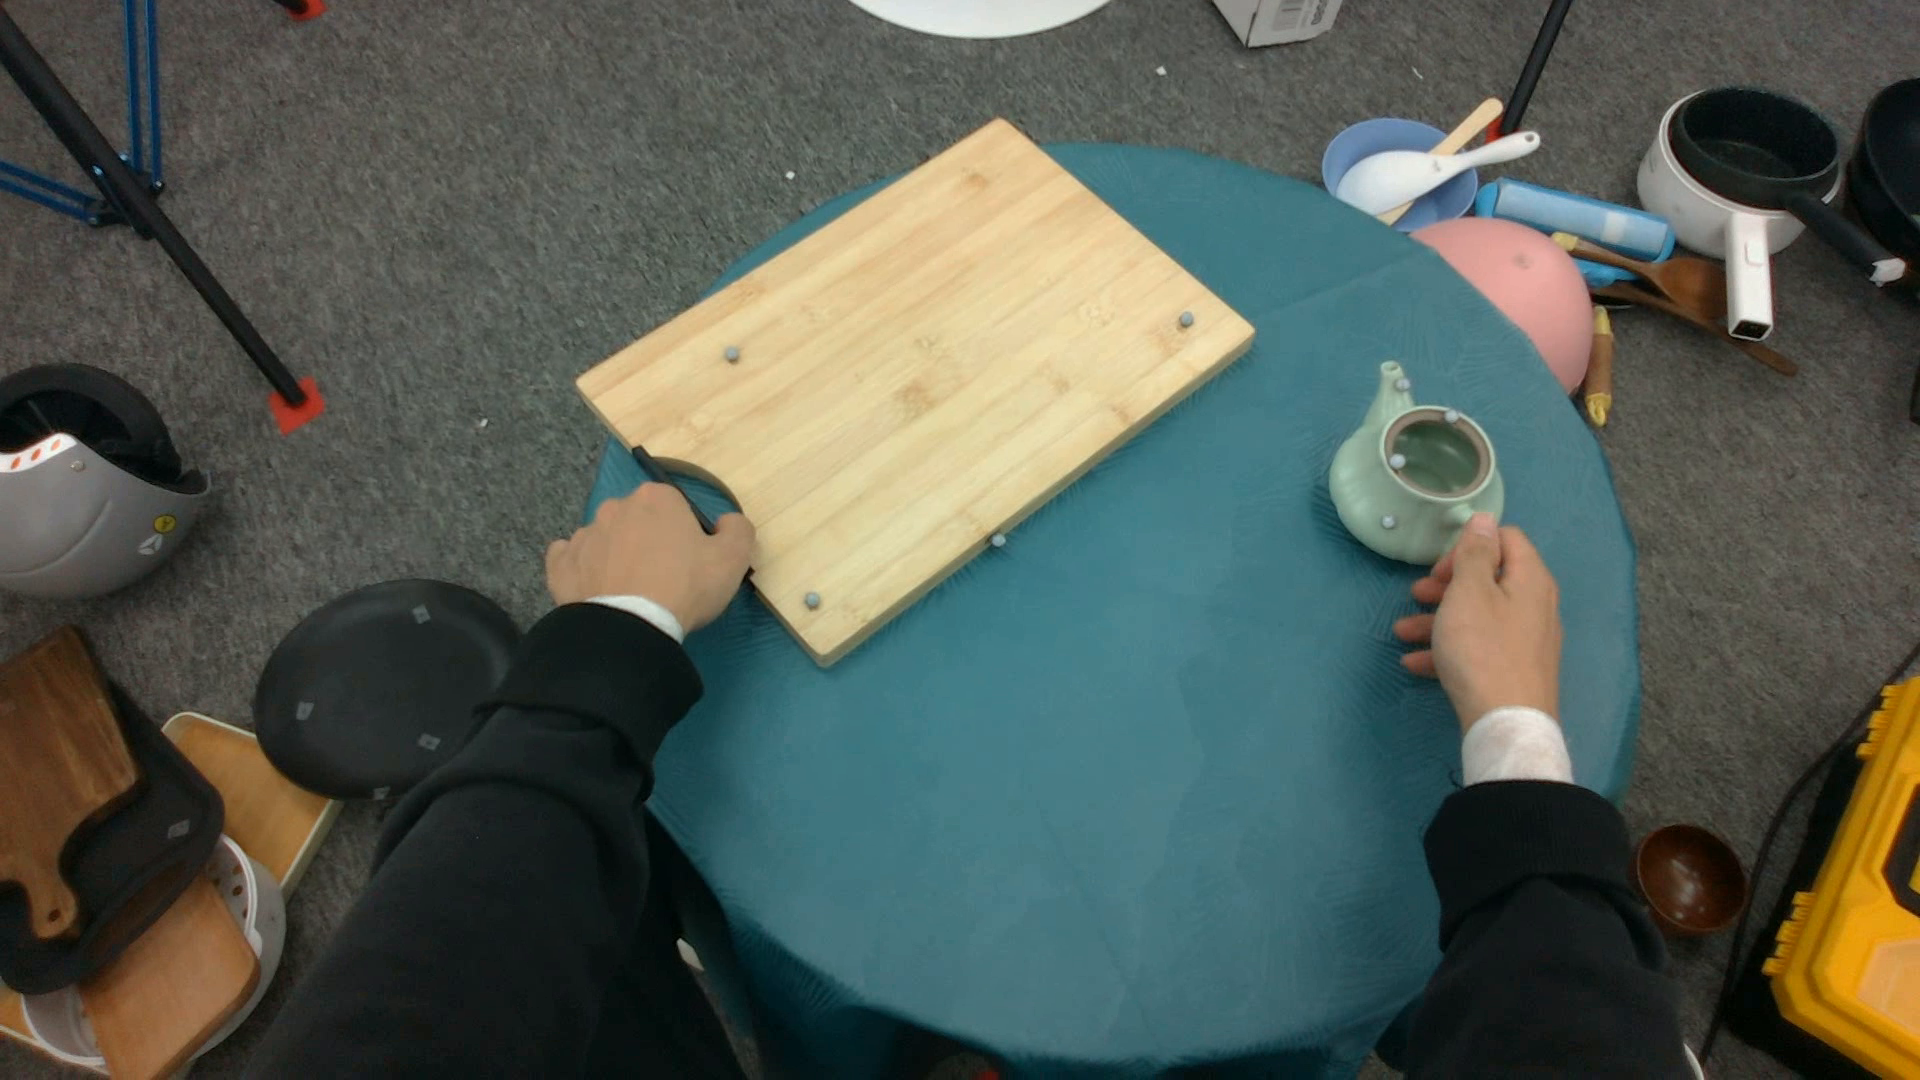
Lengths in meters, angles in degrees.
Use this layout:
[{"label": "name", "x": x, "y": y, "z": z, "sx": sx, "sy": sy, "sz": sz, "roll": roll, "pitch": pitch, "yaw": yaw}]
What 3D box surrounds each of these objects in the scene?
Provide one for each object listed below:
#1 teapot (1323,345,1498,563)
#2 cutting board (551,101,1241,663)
[{"label": "teapot", "x": 0.258, "y": -0.042, "z": 0.776, "sx": 0.096, "sy": 0.061, "sz": 0.137, "roll": -16, "pitch": 62, "yaw": -11}, {"label": "cutting board", "x": -0.033, "y": -0.114, "z": 0.836, "sx": 0.350, "sy": 0.023, "sz": 0.251, "roll": -38, "pitch": 68, "yaw": -20}]
